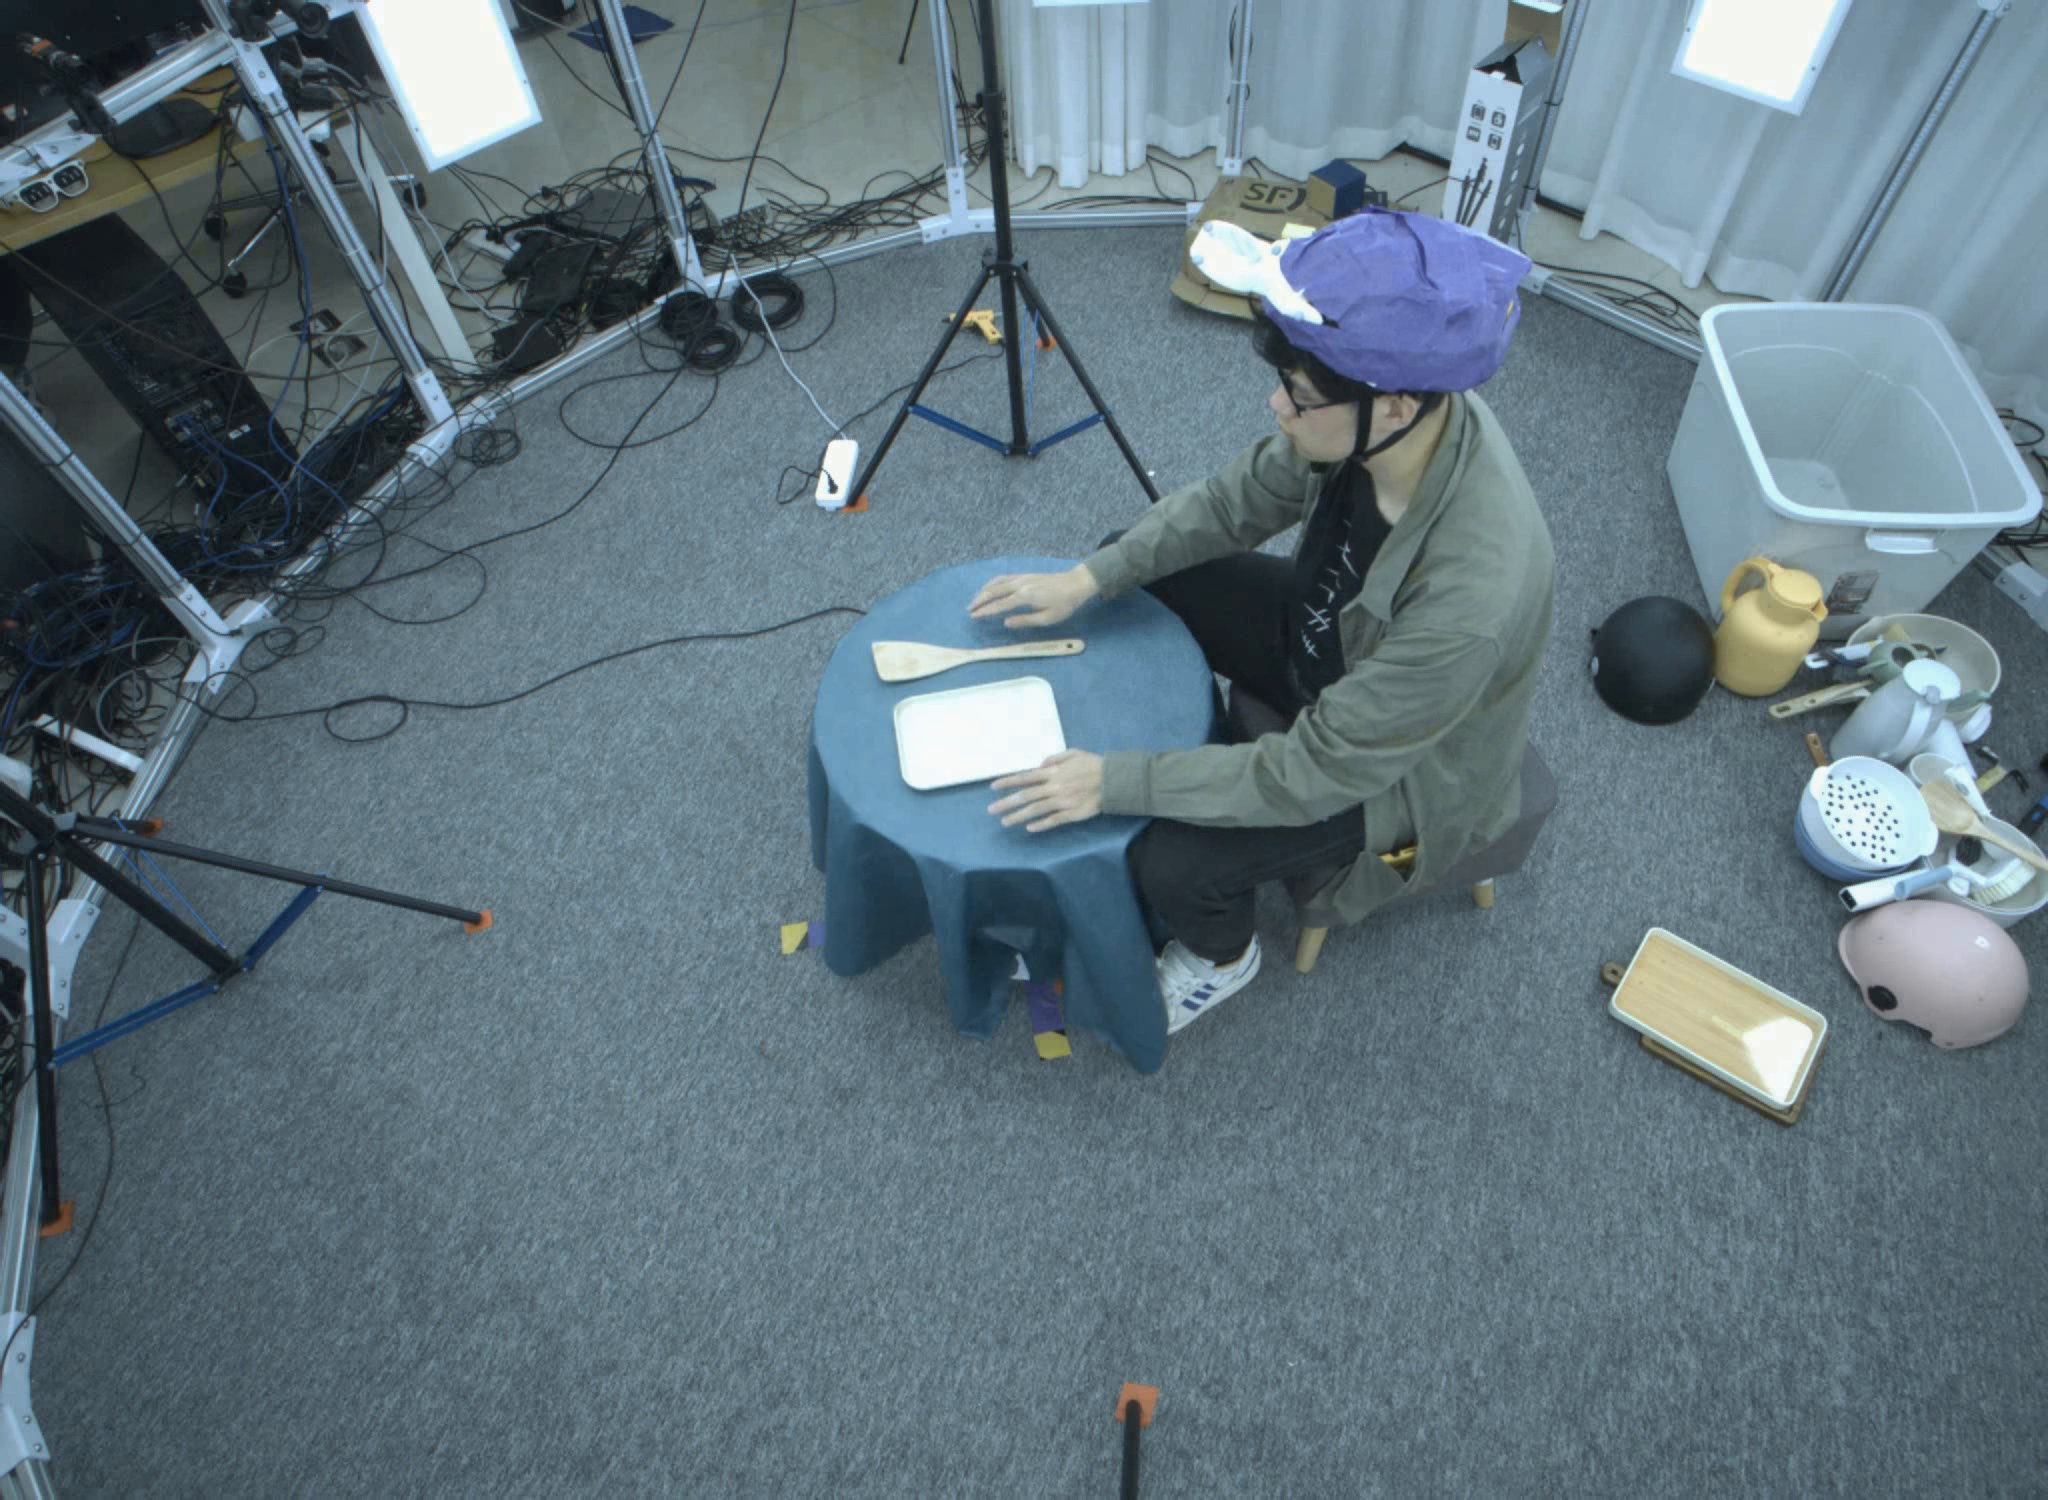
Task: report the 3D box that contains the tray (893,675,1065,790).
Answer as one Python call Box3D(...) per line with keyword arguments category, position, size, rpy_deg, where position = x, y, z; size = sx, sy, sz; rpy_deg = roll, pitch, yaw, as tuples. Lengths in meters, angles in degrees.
Box3D(category="tray", position=(-0.067, -0.025, 1.801), size=(0.240, 0.017, 0.169), rpy_deg=(-9, 56, -6))

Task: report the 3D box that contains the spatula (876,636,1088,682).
Box3D(category="spatula", position=(-0.064, -0.149, 1.889), size=(0.328, 0.017, 0.079), rpy_deg=(-6, 55, -2))
